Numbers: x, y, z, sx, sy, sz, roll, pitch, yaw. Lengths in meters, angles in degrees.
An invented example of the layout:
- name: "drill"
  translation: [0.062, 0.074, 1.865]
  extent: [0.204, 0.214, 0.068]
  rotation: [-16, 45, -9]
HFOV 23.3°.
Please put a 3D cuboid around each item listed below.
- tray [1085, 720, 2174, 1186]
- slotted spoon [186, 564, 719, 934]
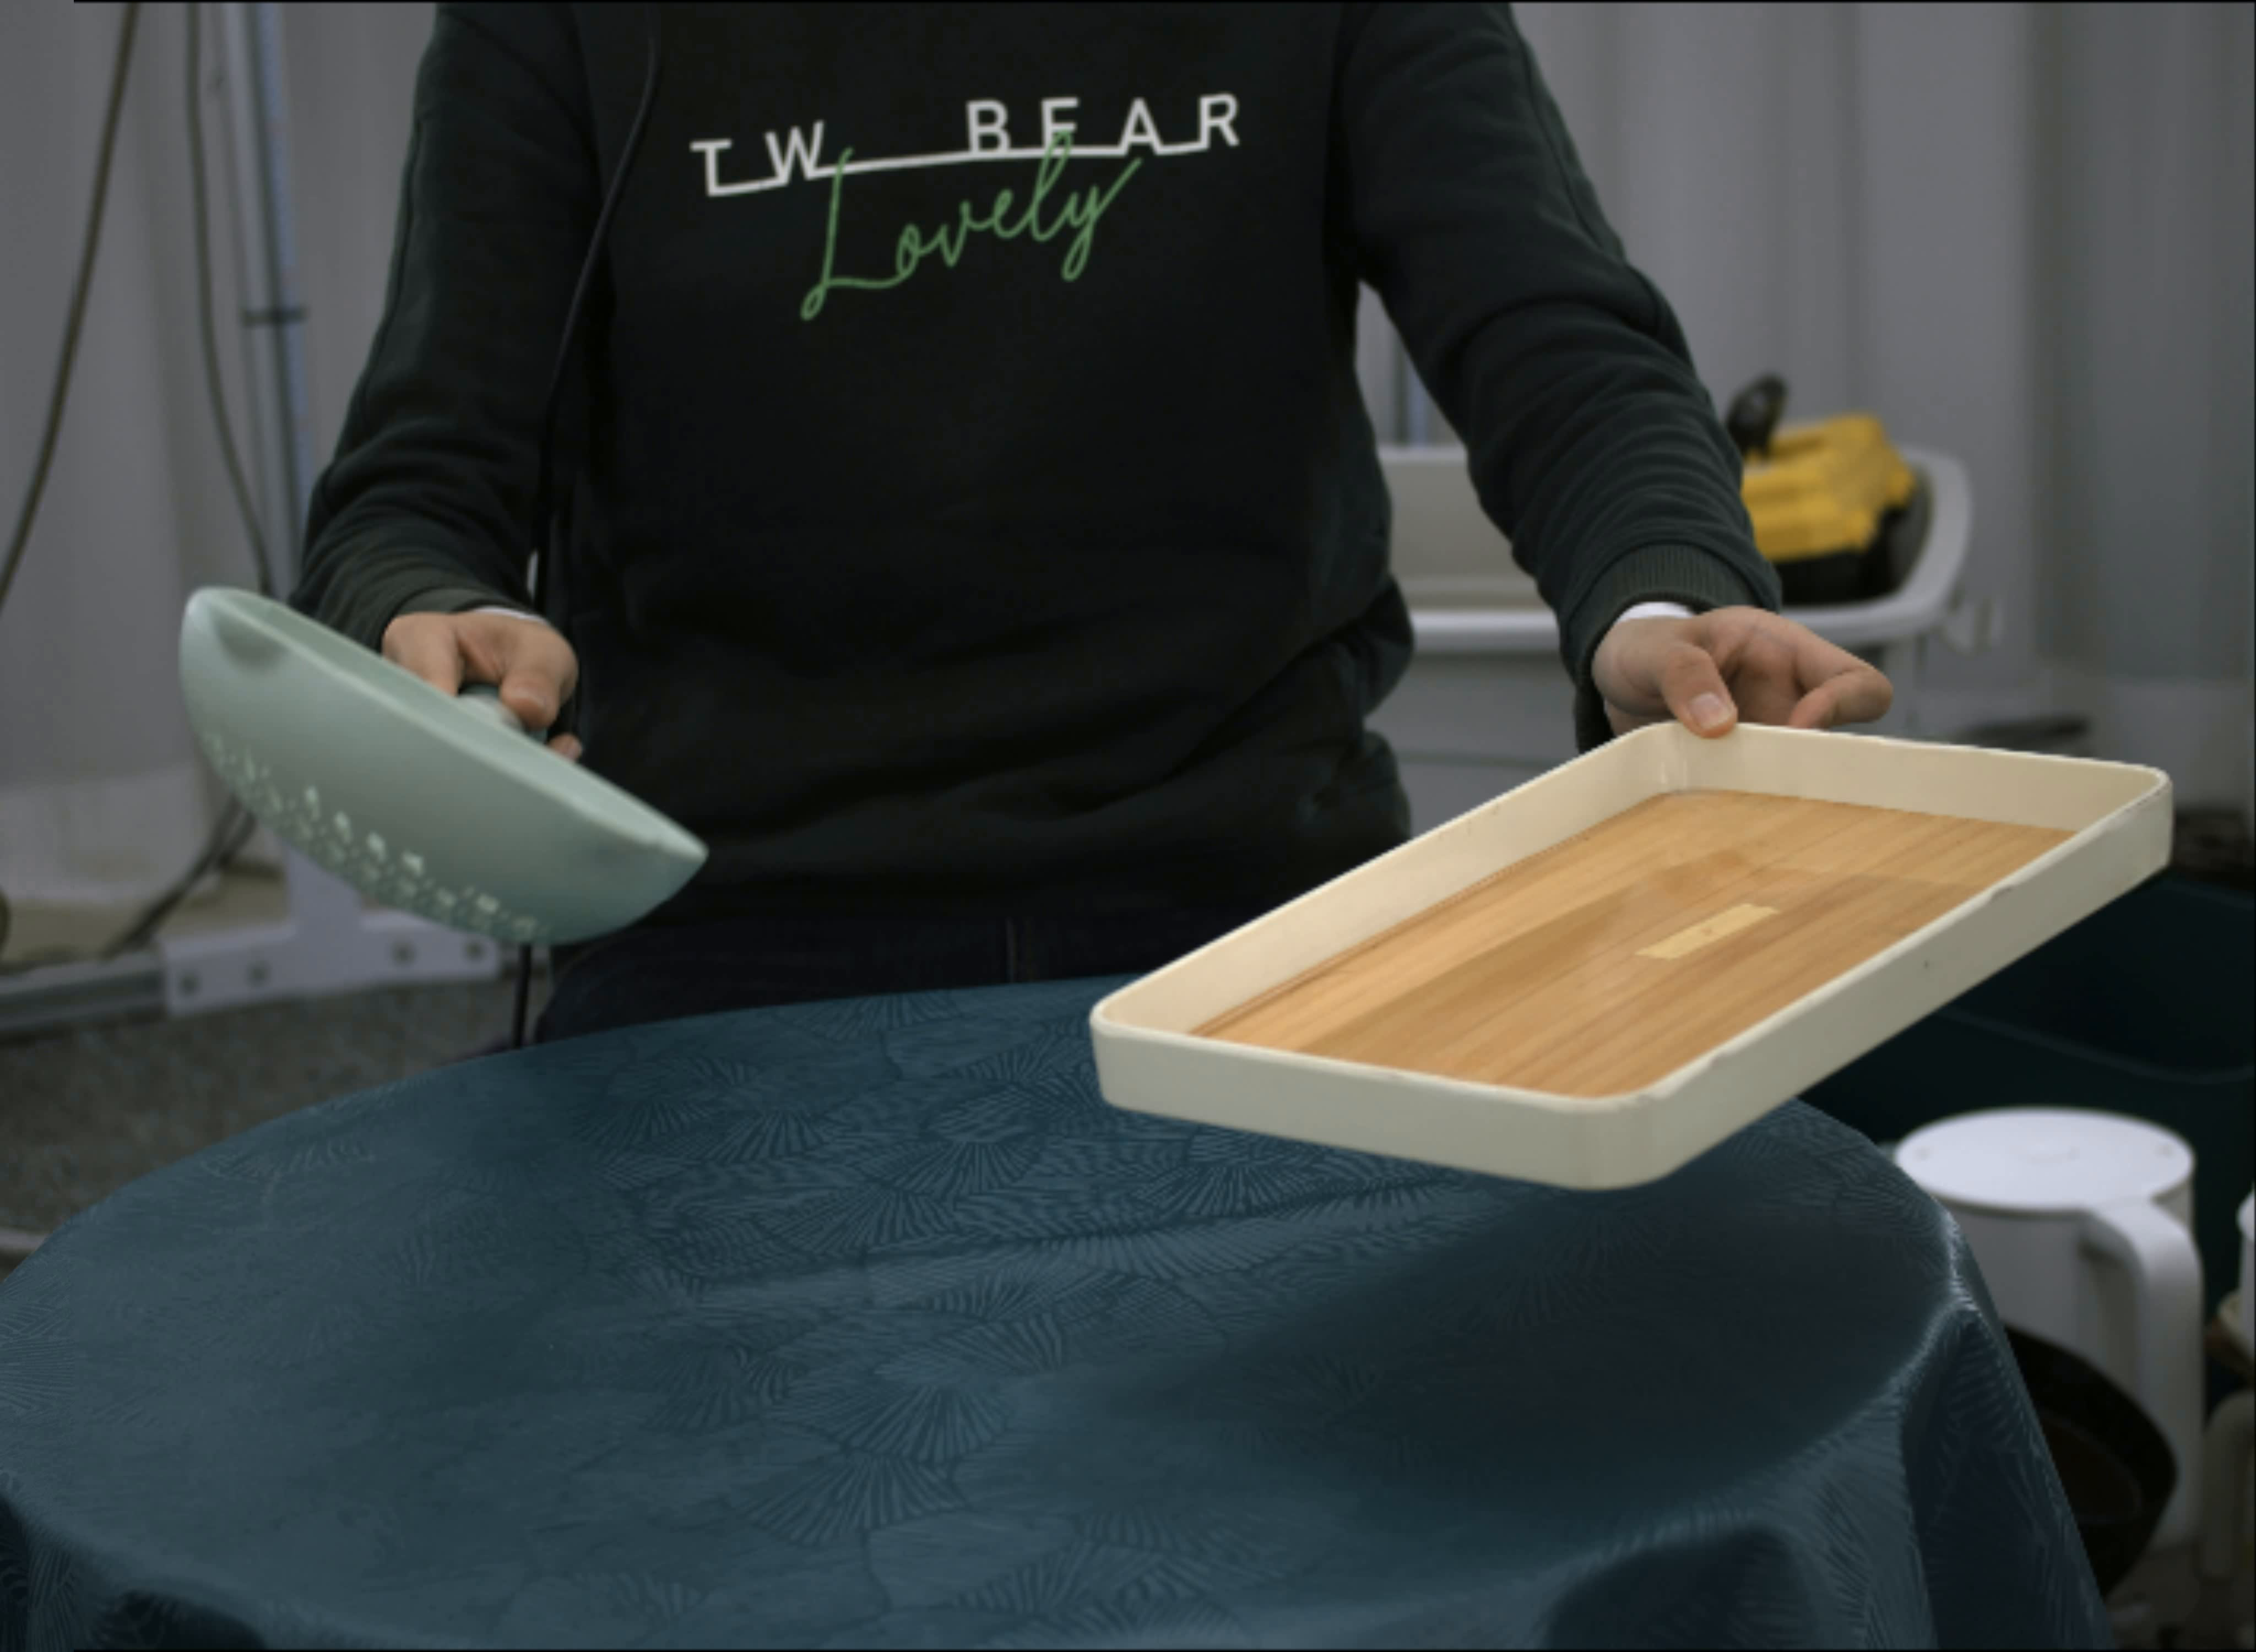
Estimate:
- name: "tray"
  translation: [0.148, 0.031, 1.562]
  extent: [0.192, 0.027, 0.300]
  rotation: [8, 22, 40]
- name: "slotted spoon"
  translation: [-0.205, -0.025, 1.681]
  extent: [0.169, 0.075, 0.360]
  rotation: [30, 6, -3]
